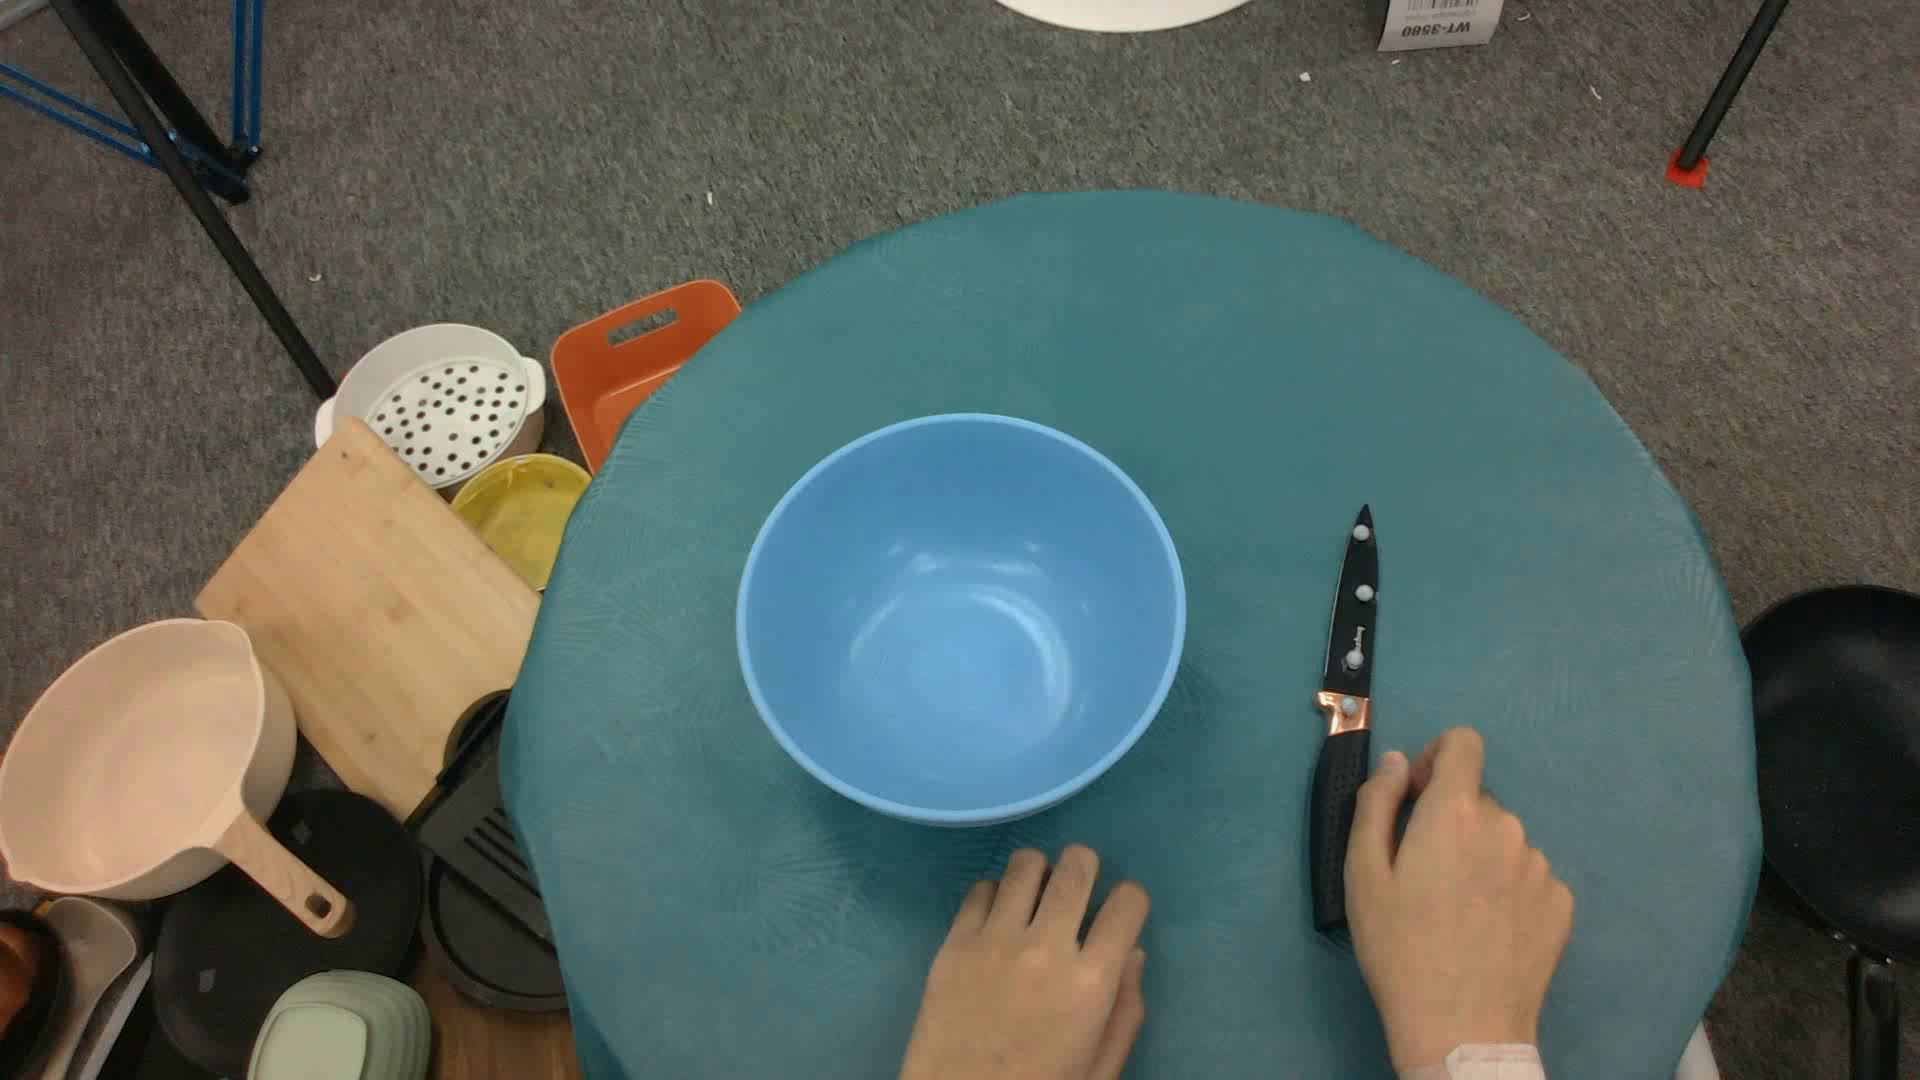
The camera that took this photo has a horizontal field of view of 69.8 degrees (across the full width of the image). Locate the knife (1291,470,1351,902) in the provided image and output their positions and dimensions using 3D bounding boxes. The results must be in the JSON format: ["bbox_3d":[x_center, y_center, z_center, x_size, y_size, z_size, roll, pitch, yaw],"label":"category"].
[{"bbox_3d":[0.175,0.062,0.664,0.026,0.017,0.226,5,61,11],"label":"knife"}]

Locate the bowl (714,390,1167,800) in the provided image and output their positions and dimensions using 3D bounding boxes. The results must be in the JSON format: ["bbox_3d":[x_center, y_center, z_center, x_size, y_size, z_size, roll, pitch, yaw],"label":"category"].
[{"bbox_3d":[-0.007,0.037,0.636,0.196,0.095,0.197,-1,59,2],"label":"bowl"}]
